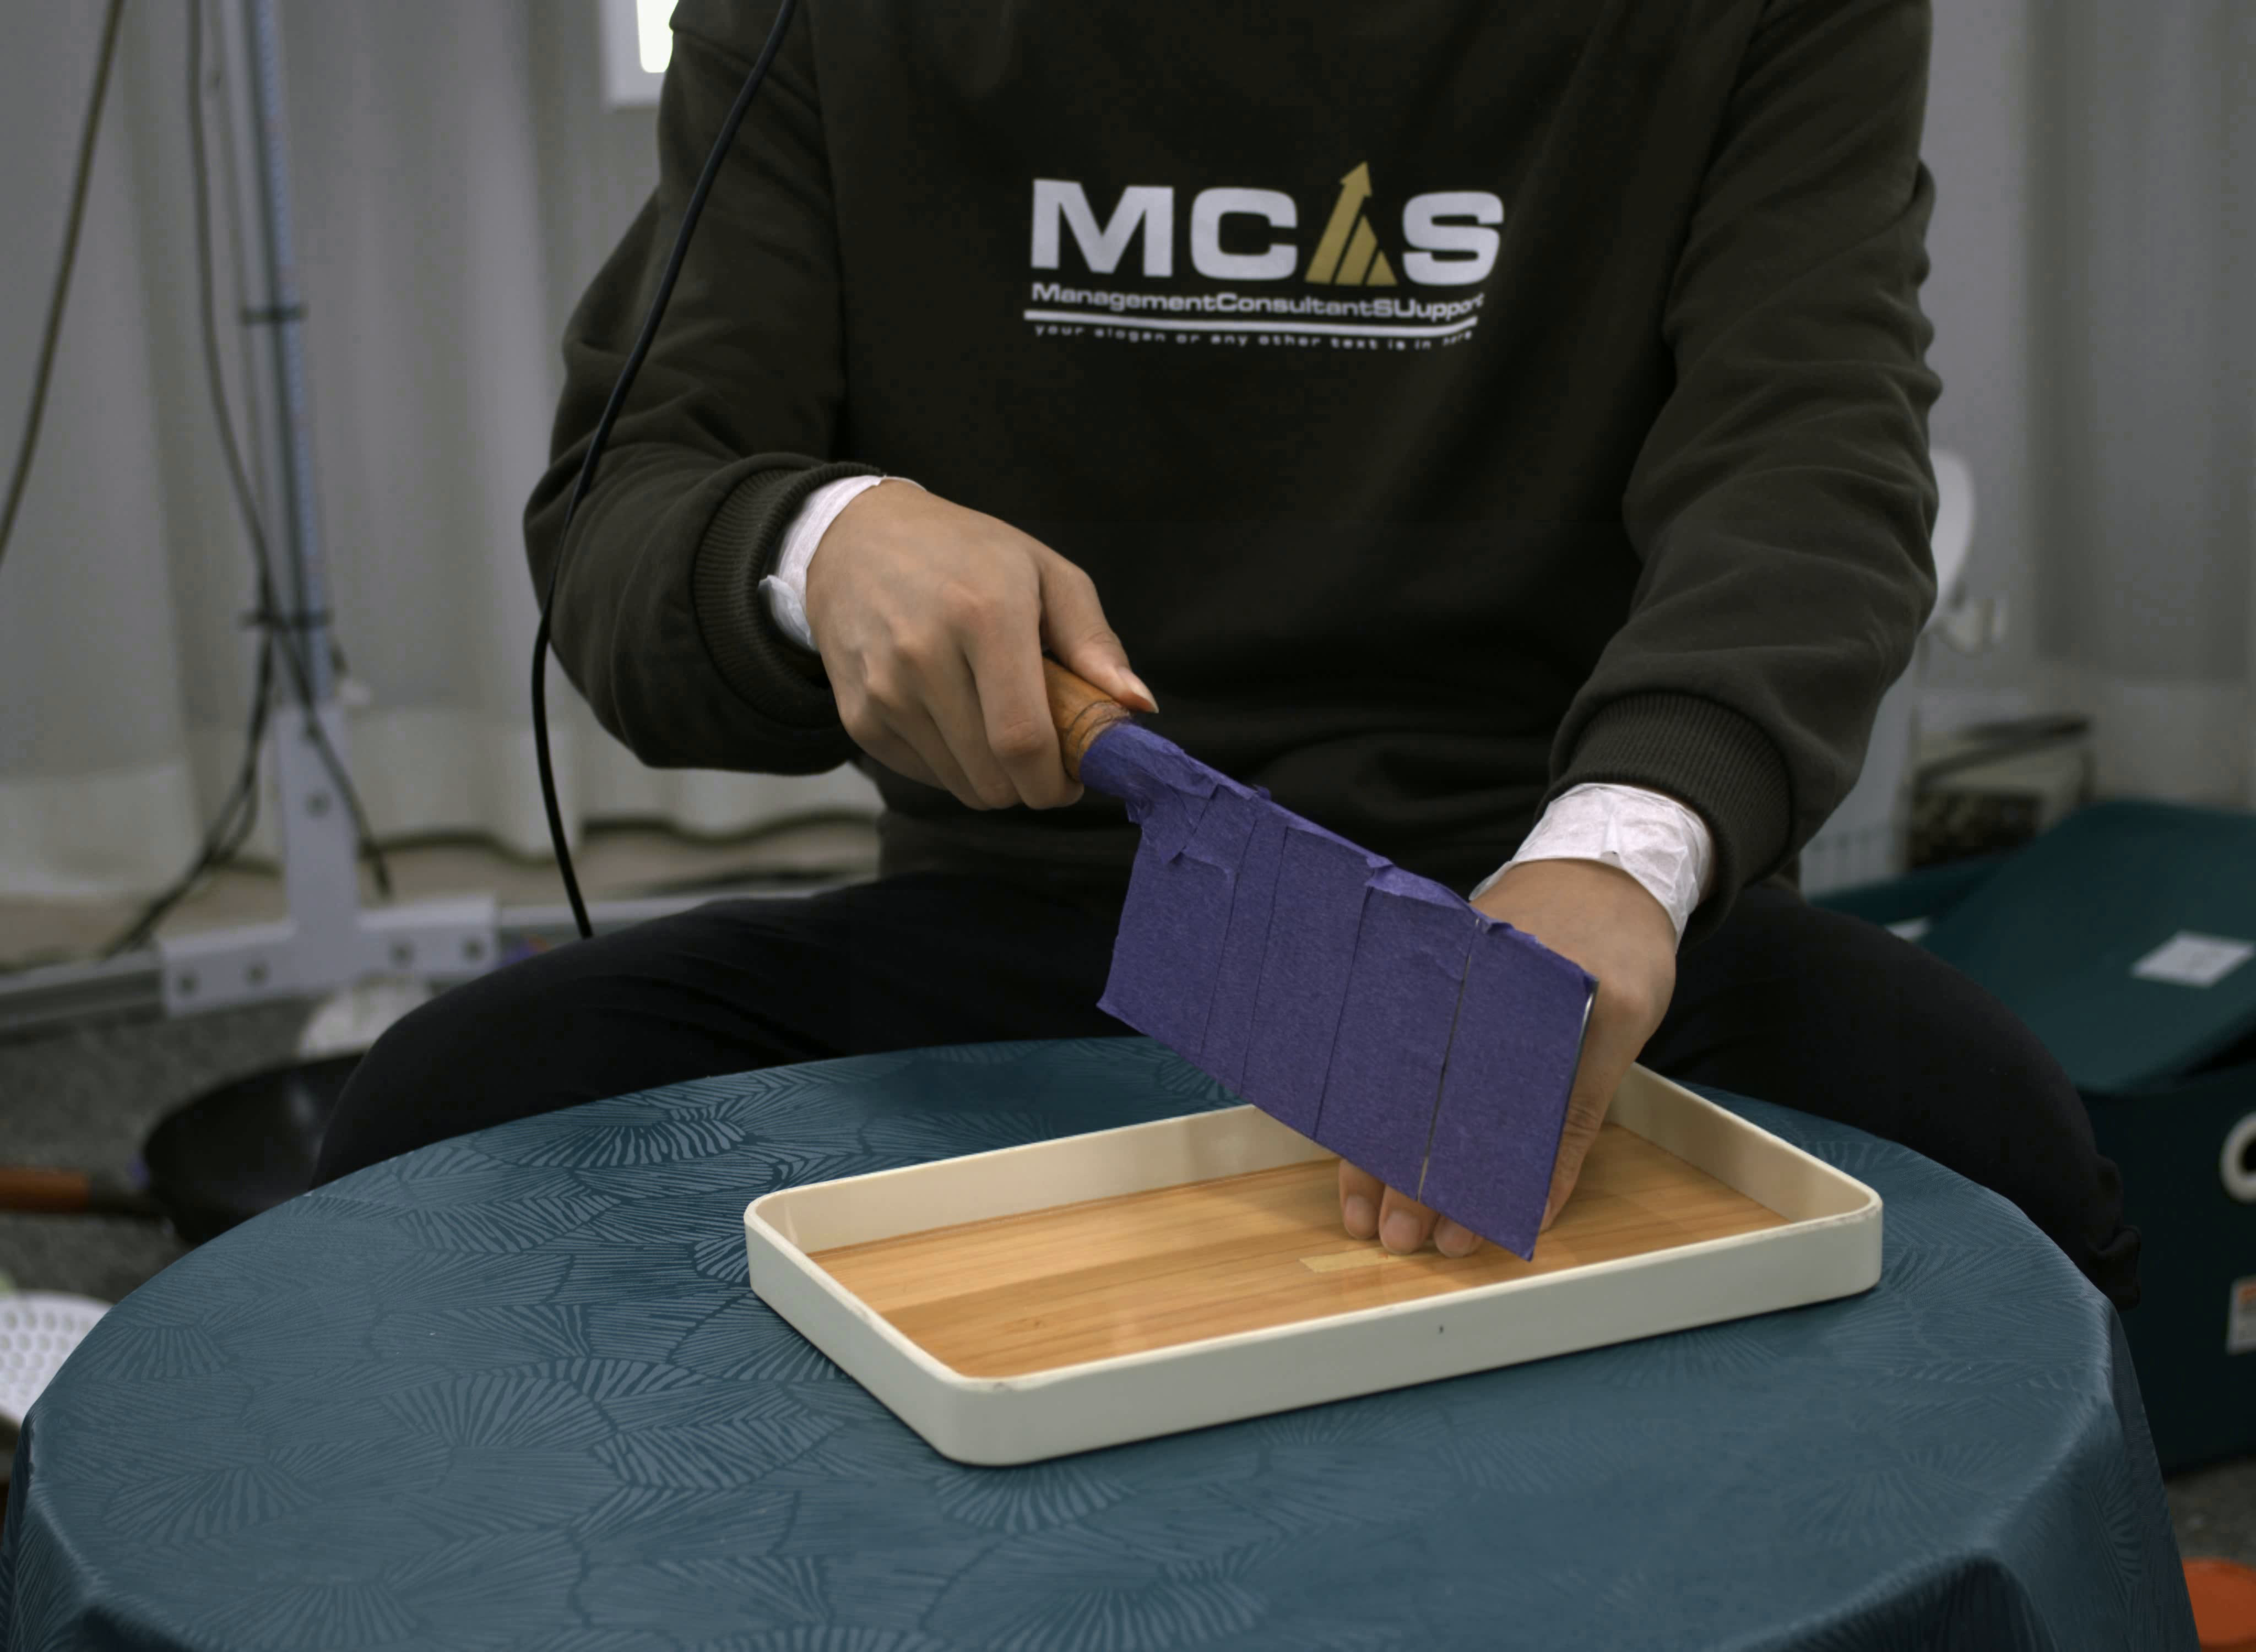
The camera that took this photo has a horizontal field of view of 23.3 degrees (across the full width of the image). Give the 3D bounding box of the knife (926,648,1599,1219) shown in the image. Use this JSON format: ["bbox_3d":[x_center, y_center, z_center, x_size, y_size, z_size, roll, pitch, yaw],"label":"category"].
[{"bbox_3d":[0.029,0.031,1.675,0.032,0.103,0.318,4,15,-38],"label":"knife"}]

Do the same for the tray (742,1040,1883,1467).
[{"bbox_3d":[0.053,0.123,1.622,0.299,0.027,0.193,-9,17,-22],"label":"tray"}]
